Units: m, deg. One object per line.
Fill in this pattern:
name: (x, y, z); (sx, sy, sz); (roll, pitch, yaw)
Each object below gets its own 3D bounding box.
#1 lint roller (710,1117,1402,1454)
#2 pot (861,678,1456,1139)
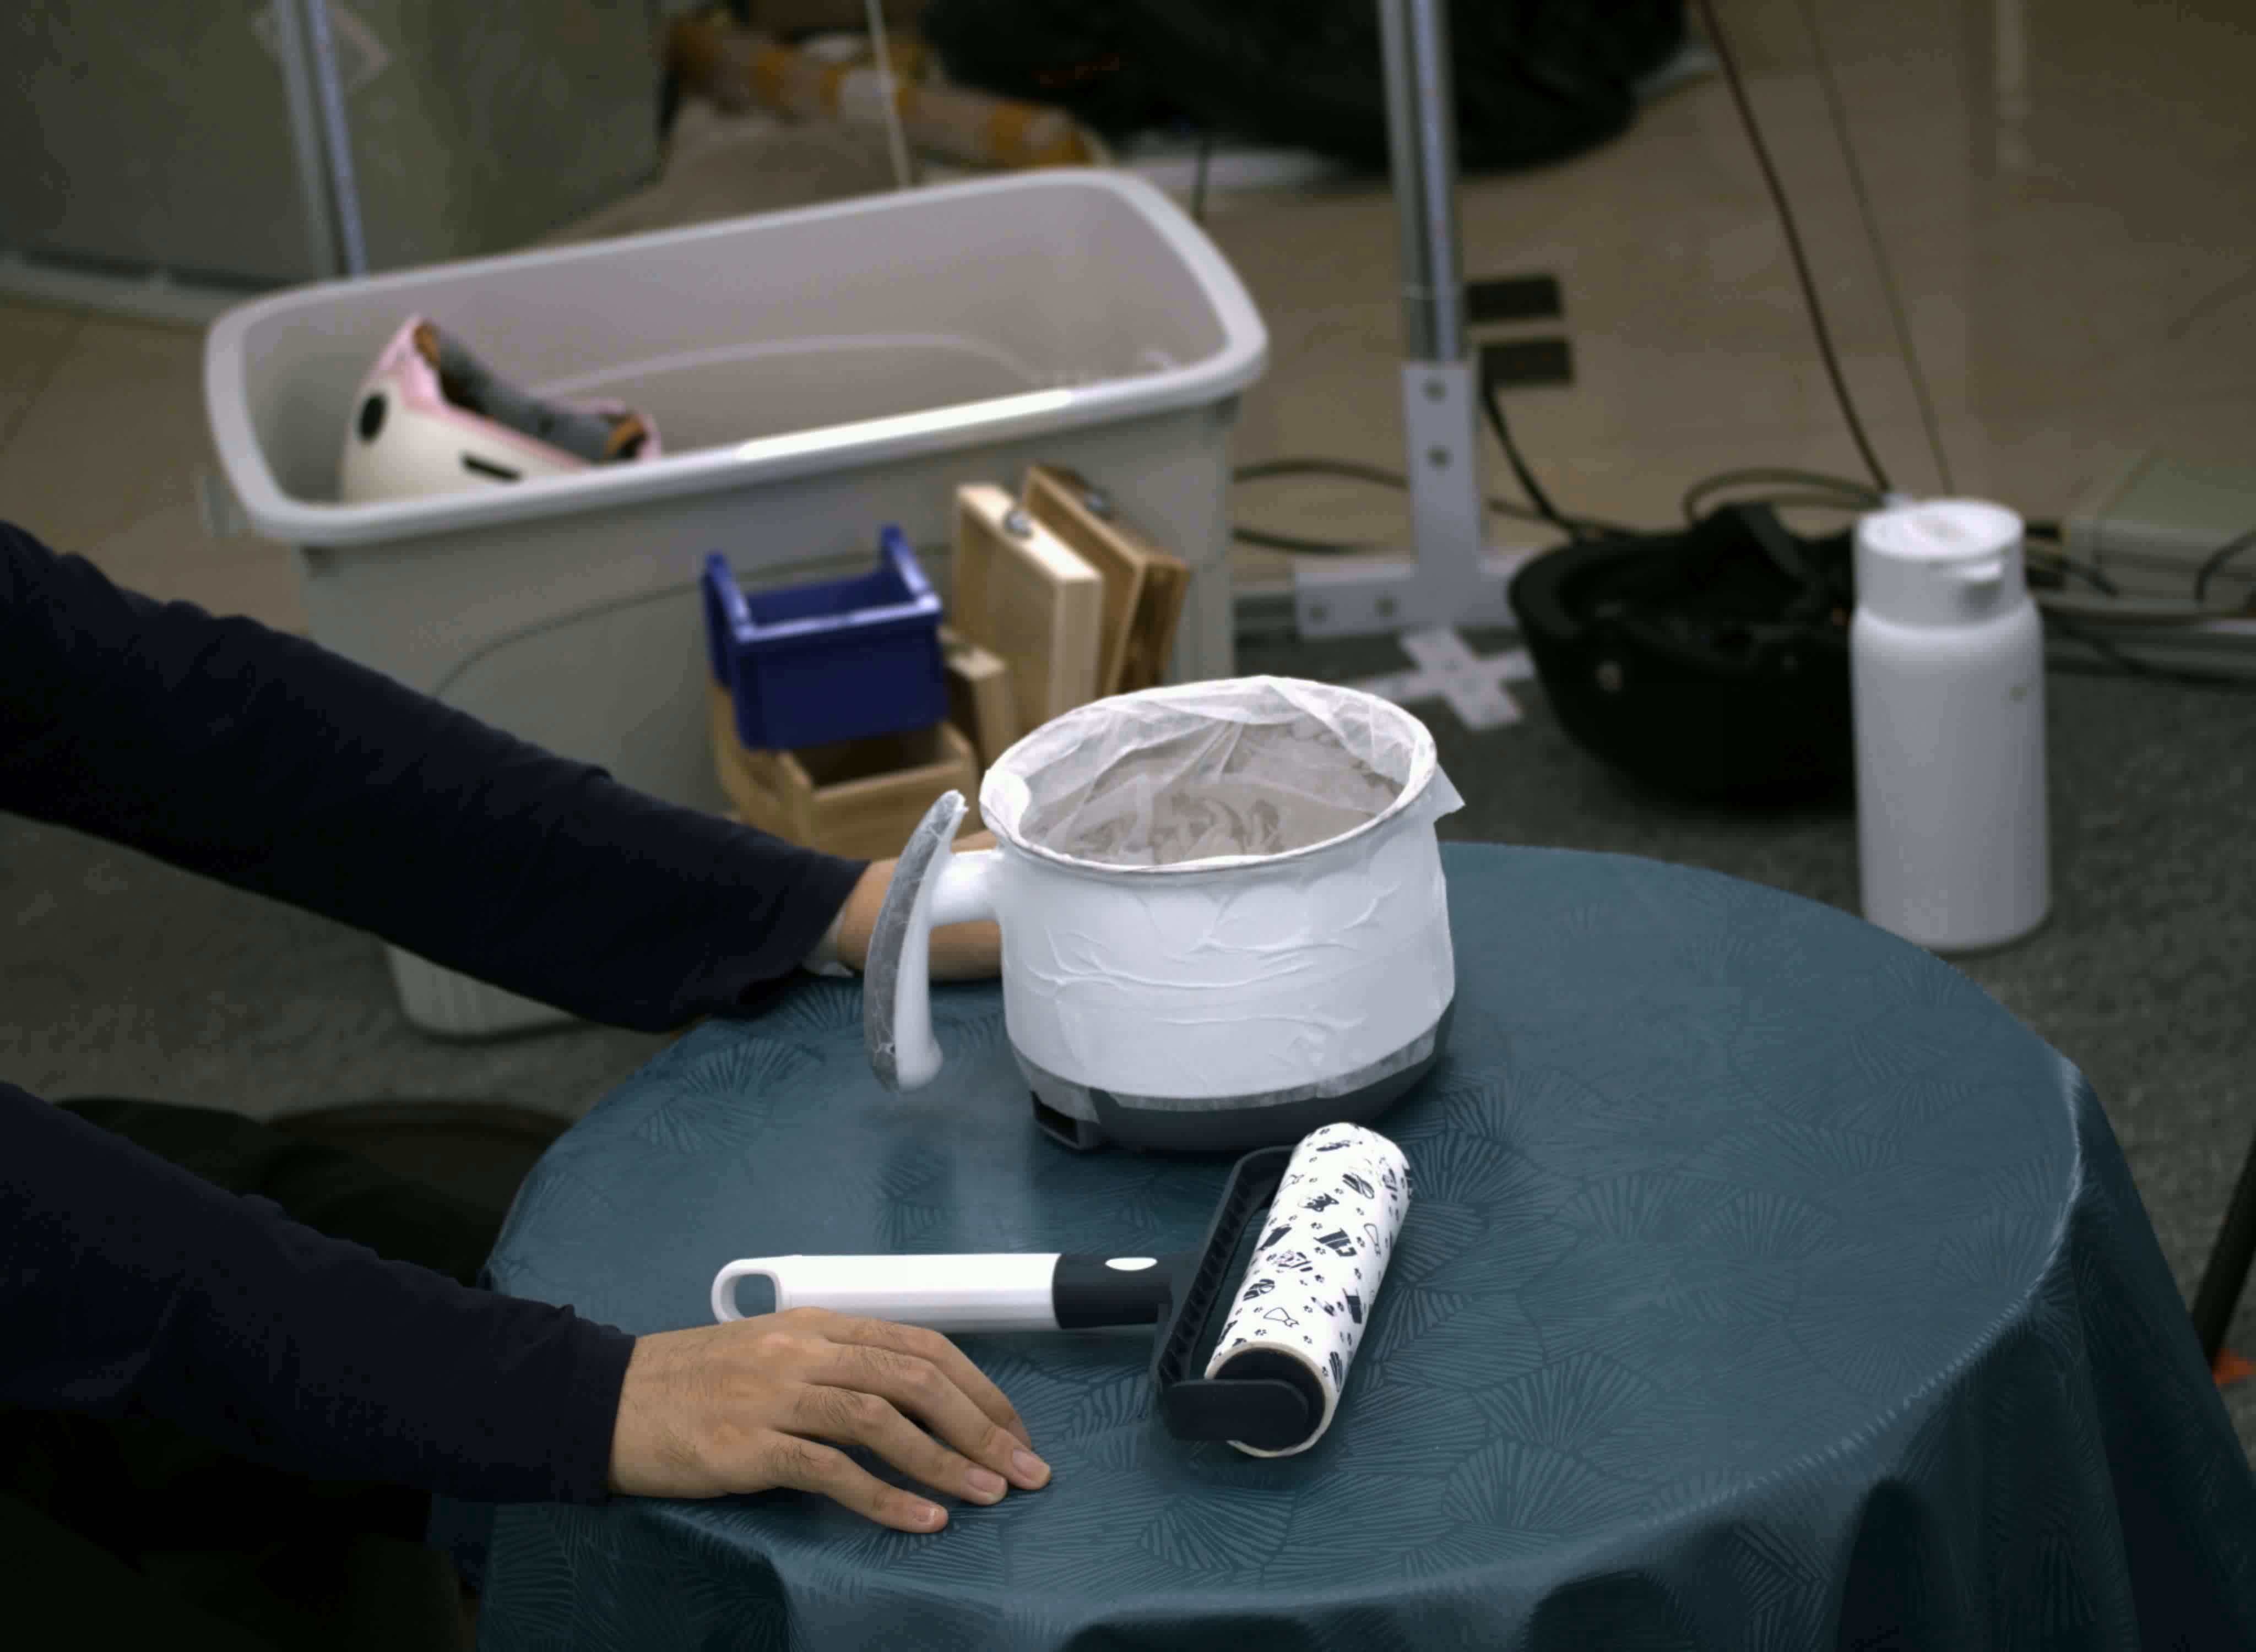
lint roller: (-0.034, 0.167, 2.048); (0.246, 0.051, 0.174); (-2, 26, 14)
pot: (0.010, 0.036, 2.196); (0.233, 0.138, 0.176); (-6, 22, -4)
